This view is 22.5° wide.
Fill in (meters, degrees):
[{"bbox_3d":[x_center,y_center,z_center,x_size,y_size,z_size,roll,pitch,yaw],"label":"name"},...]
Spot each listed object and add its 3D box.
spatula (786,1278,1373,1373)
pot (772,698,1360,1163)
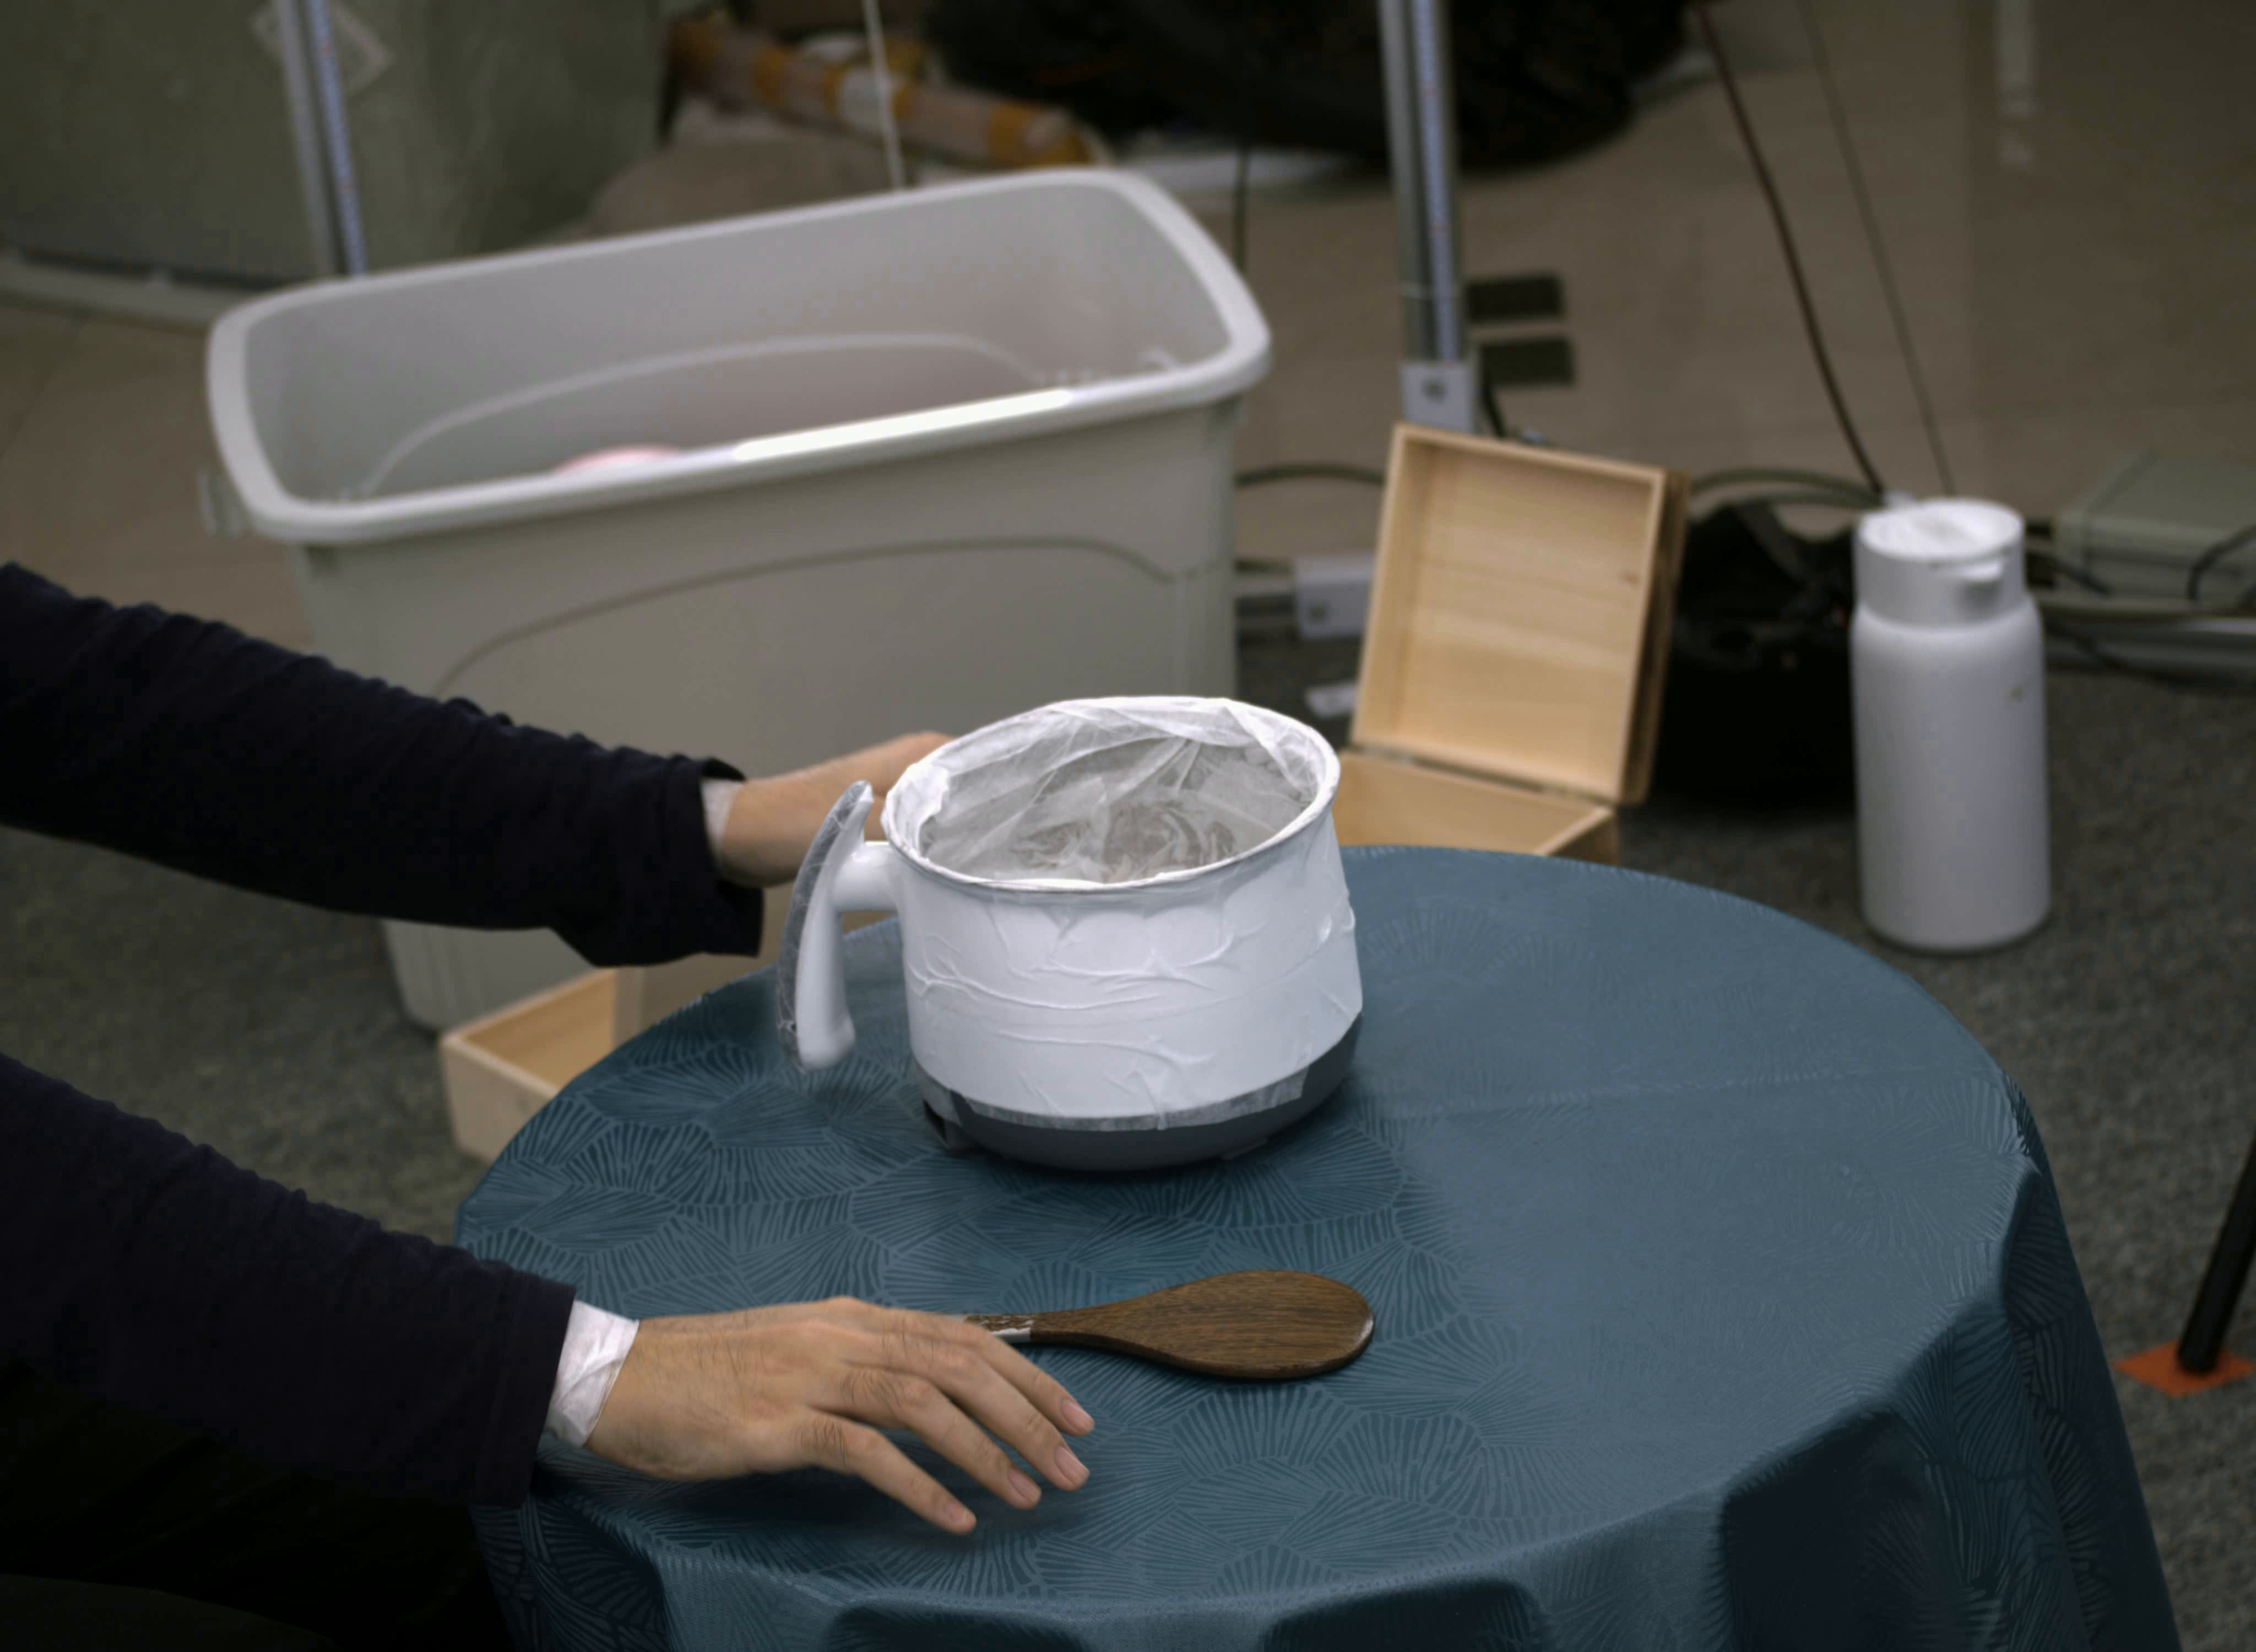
[{"bbox_3d":[-0.018,0.184,2.053,0.215,0.009,0.071,-2,23,11],"label":"spatula"},{"bbox_3d":[-0.027,0.042,2.197,0.233,0.138,0.176,0,23,10],"label":"pot"}]
